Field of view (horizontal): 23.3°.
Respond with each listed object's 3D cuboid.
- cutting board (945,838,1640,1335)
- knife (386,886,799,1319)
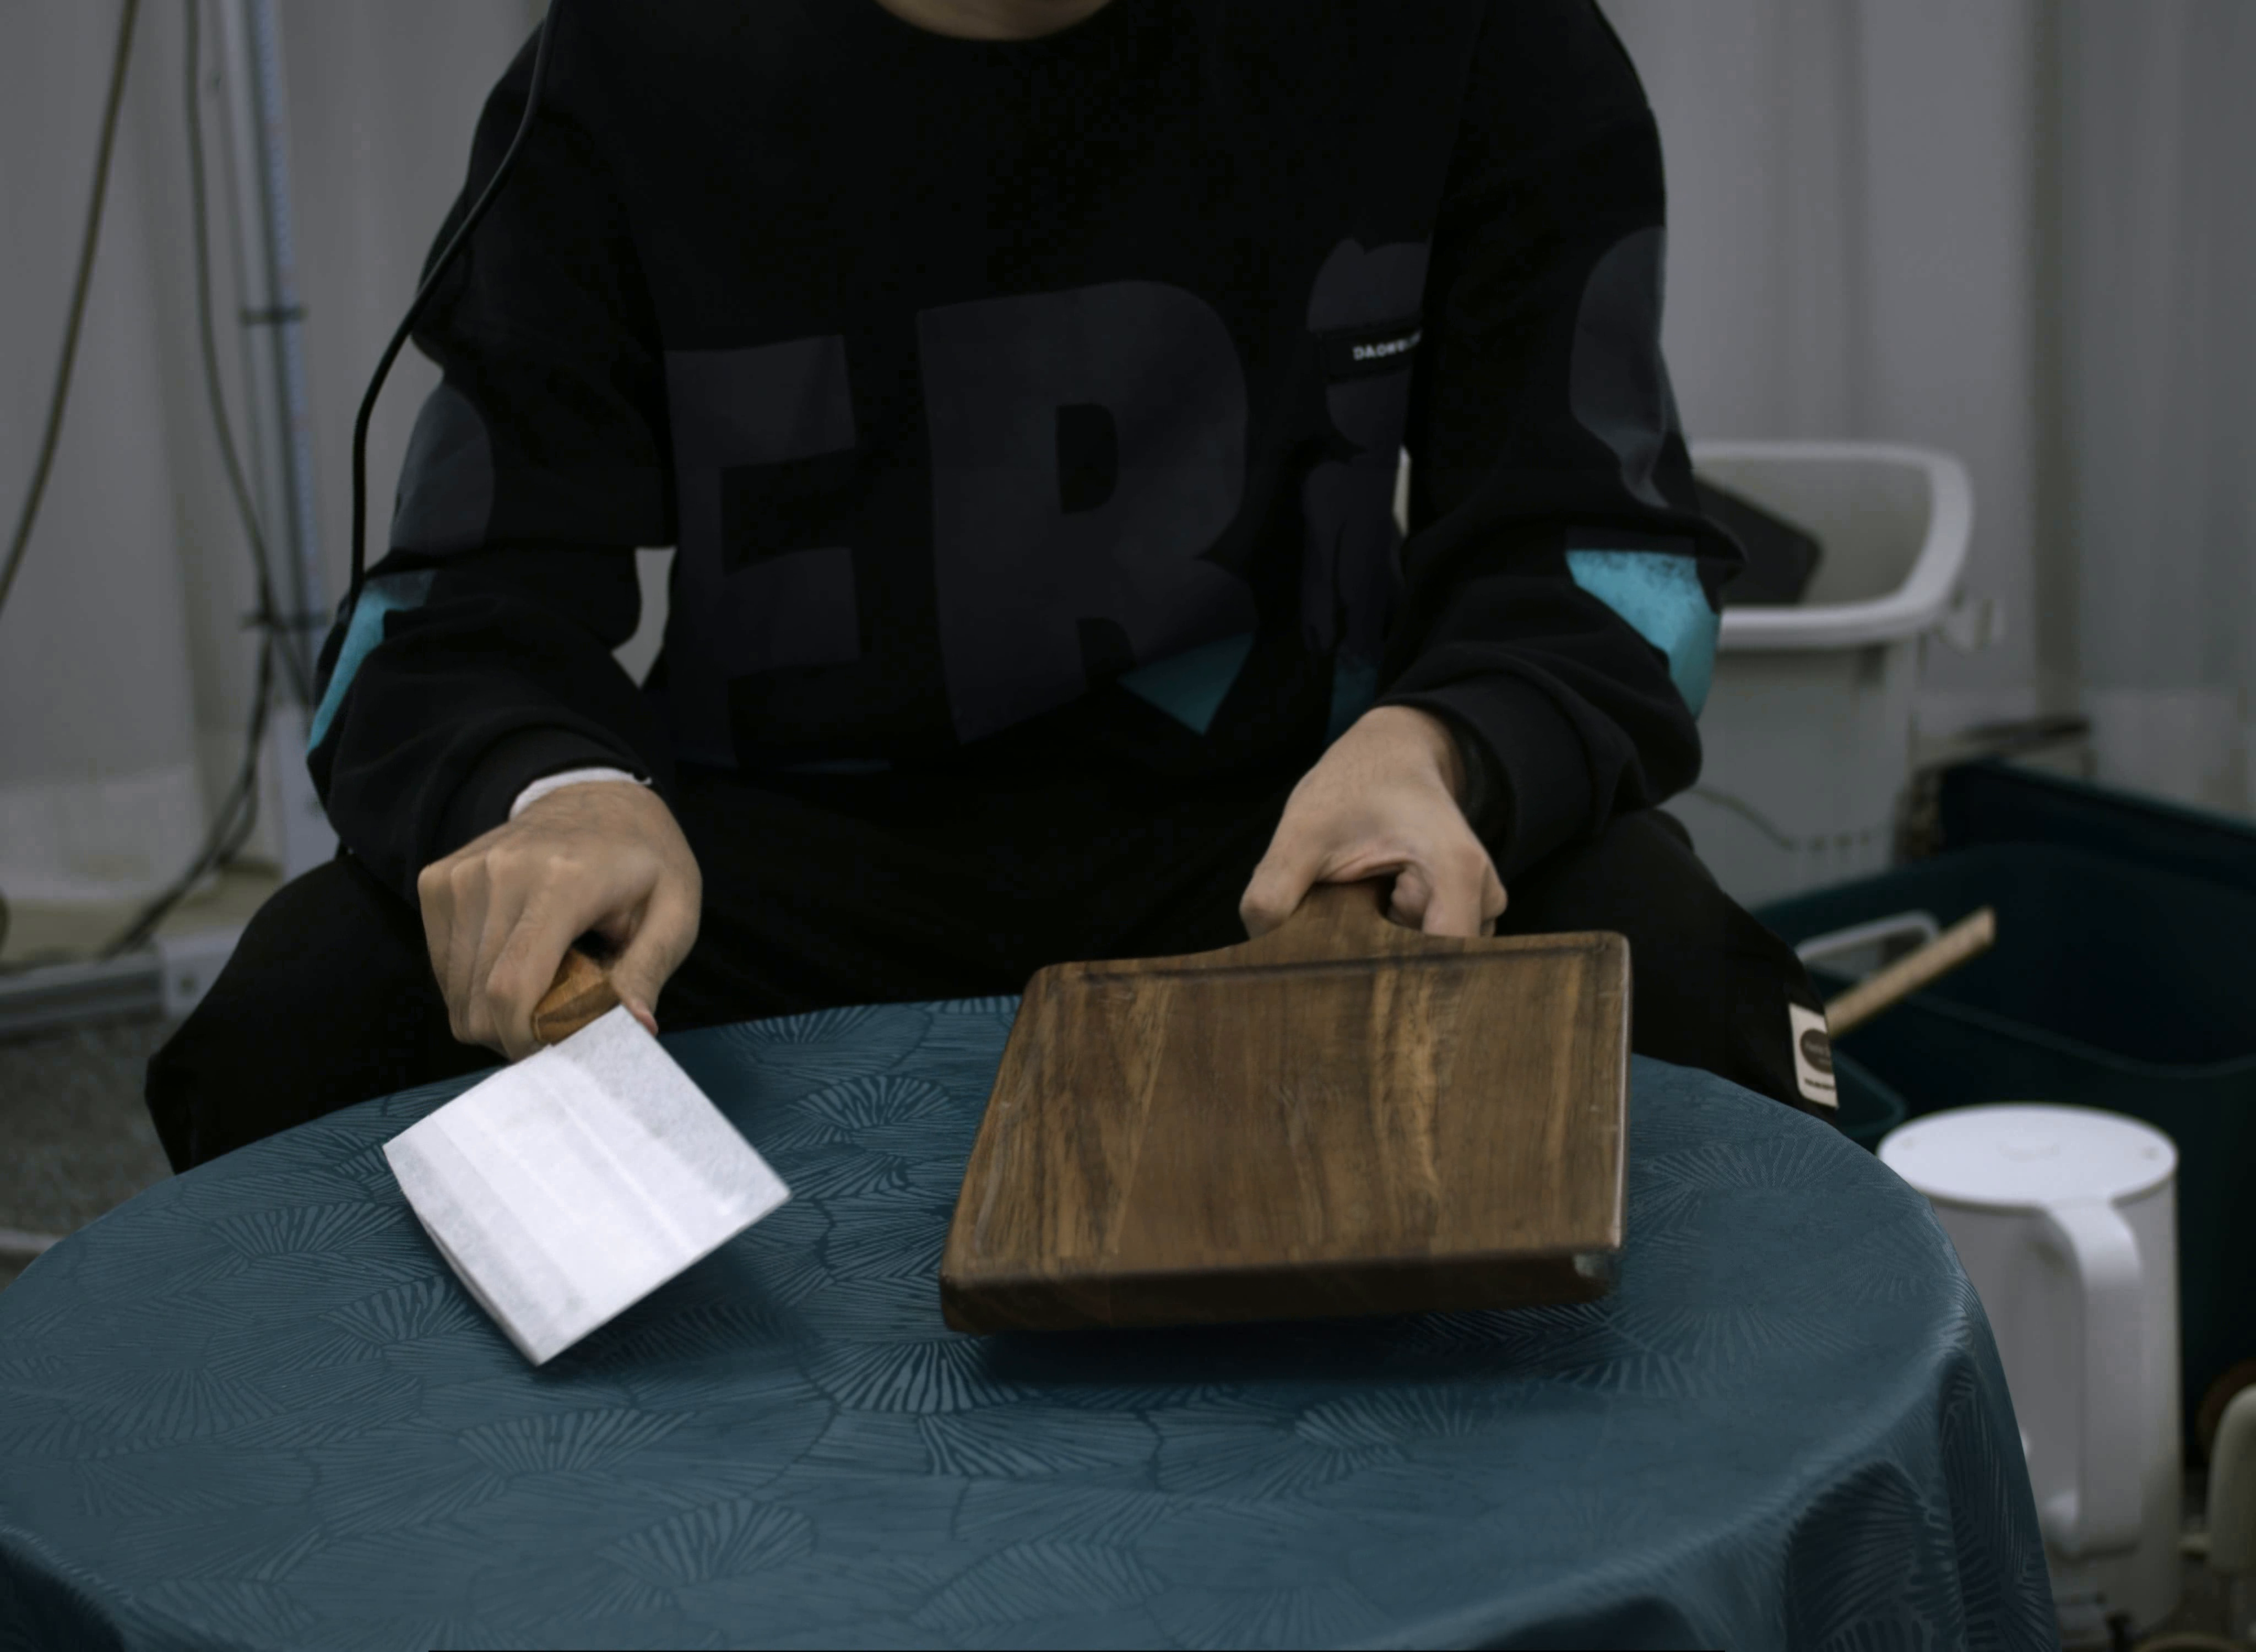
[{"bbox_3d":[0.059,0.072,1.697,0.200,0.023,0.355,-4,19,7],"label":"cutting board"},{"bbox_3d":[-0.186,0.087,1.717,0.093,0.021,0.308,-34,25,-10],"label":"knife"}]
